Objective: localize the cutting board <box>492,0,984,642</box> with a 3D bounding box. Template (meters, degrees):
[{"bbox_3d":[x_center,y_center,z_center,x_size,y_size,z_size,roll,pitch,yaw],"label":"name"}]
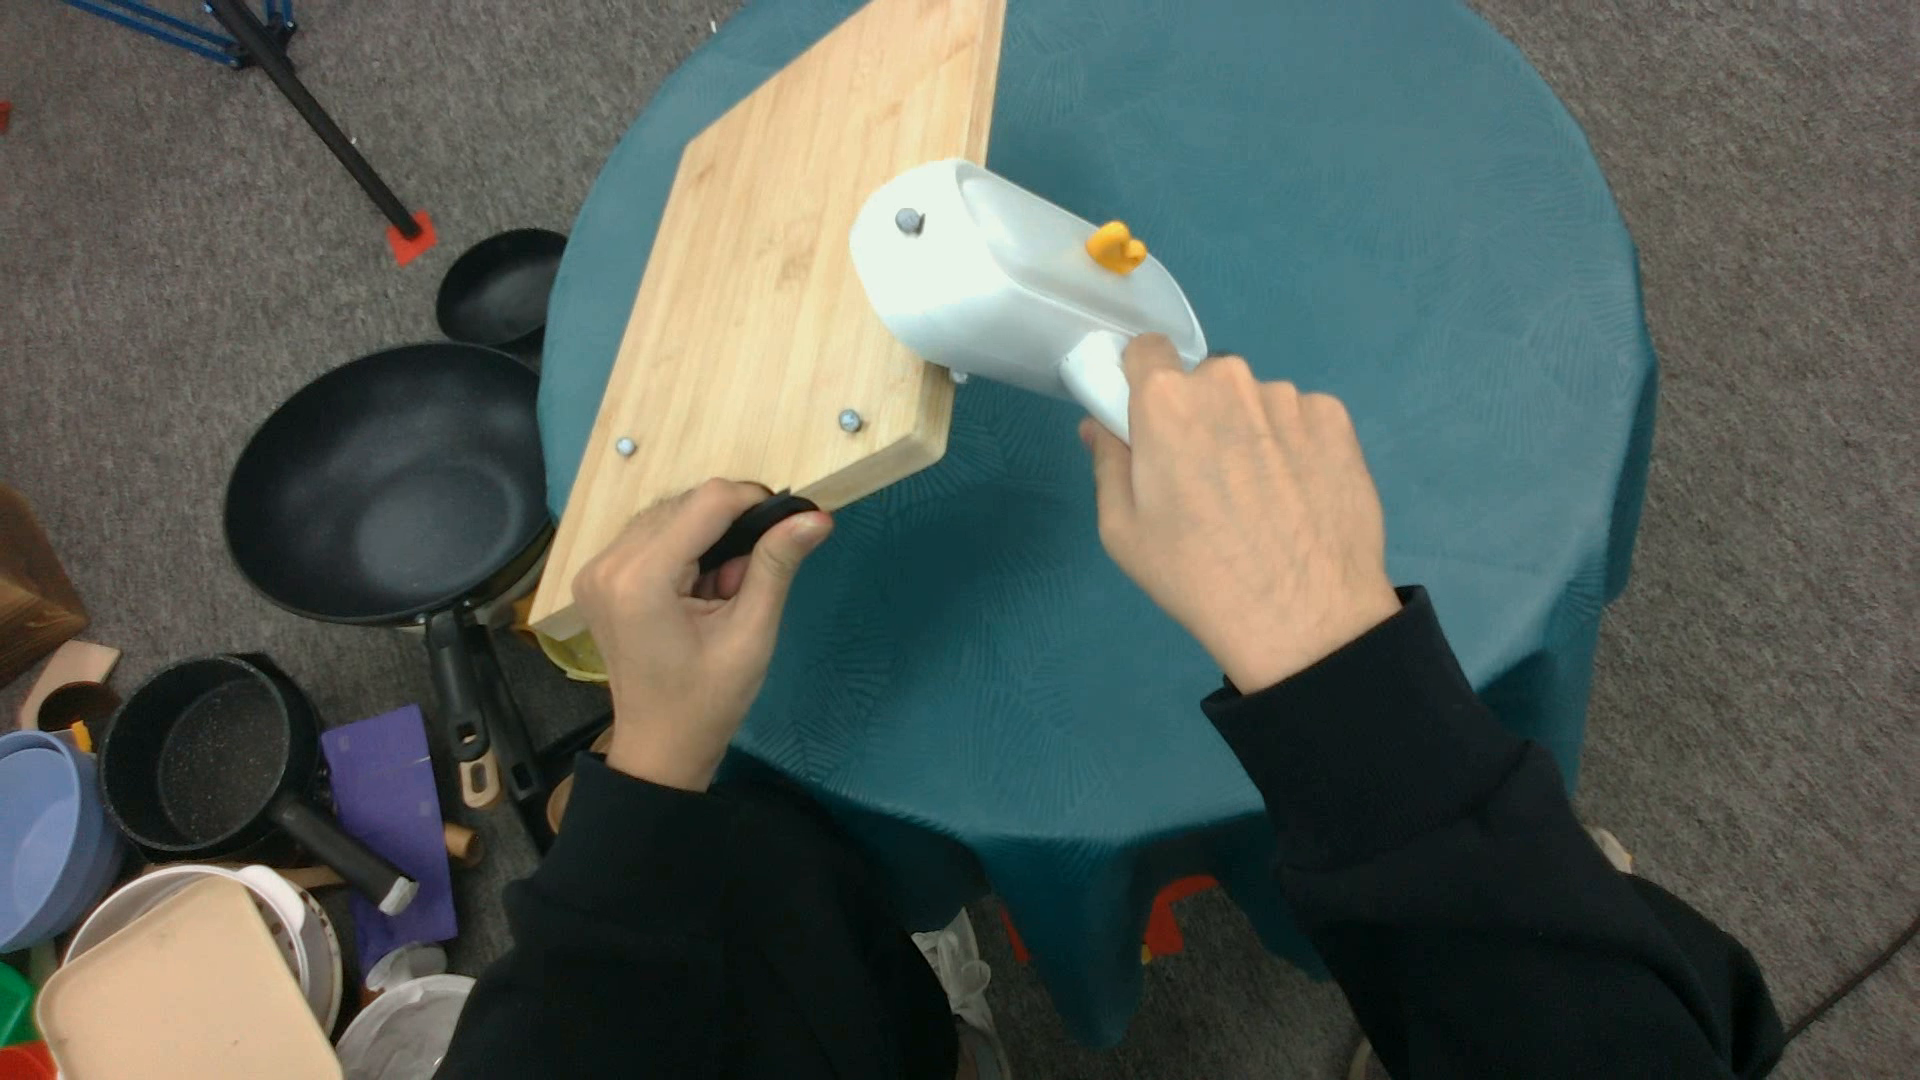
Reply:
[{"bbox_3d":[-0.096,-0.134,0.654,0.249,0.023,0.350,-23,45,34],"label":"cutting board"}]

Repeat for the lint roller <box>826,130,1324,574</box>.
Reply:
[{"bbox_3d":[0.056,-0.057,0.509,0.074,0.193,0.192,-39,70,20],"label":"lint roller"}]
